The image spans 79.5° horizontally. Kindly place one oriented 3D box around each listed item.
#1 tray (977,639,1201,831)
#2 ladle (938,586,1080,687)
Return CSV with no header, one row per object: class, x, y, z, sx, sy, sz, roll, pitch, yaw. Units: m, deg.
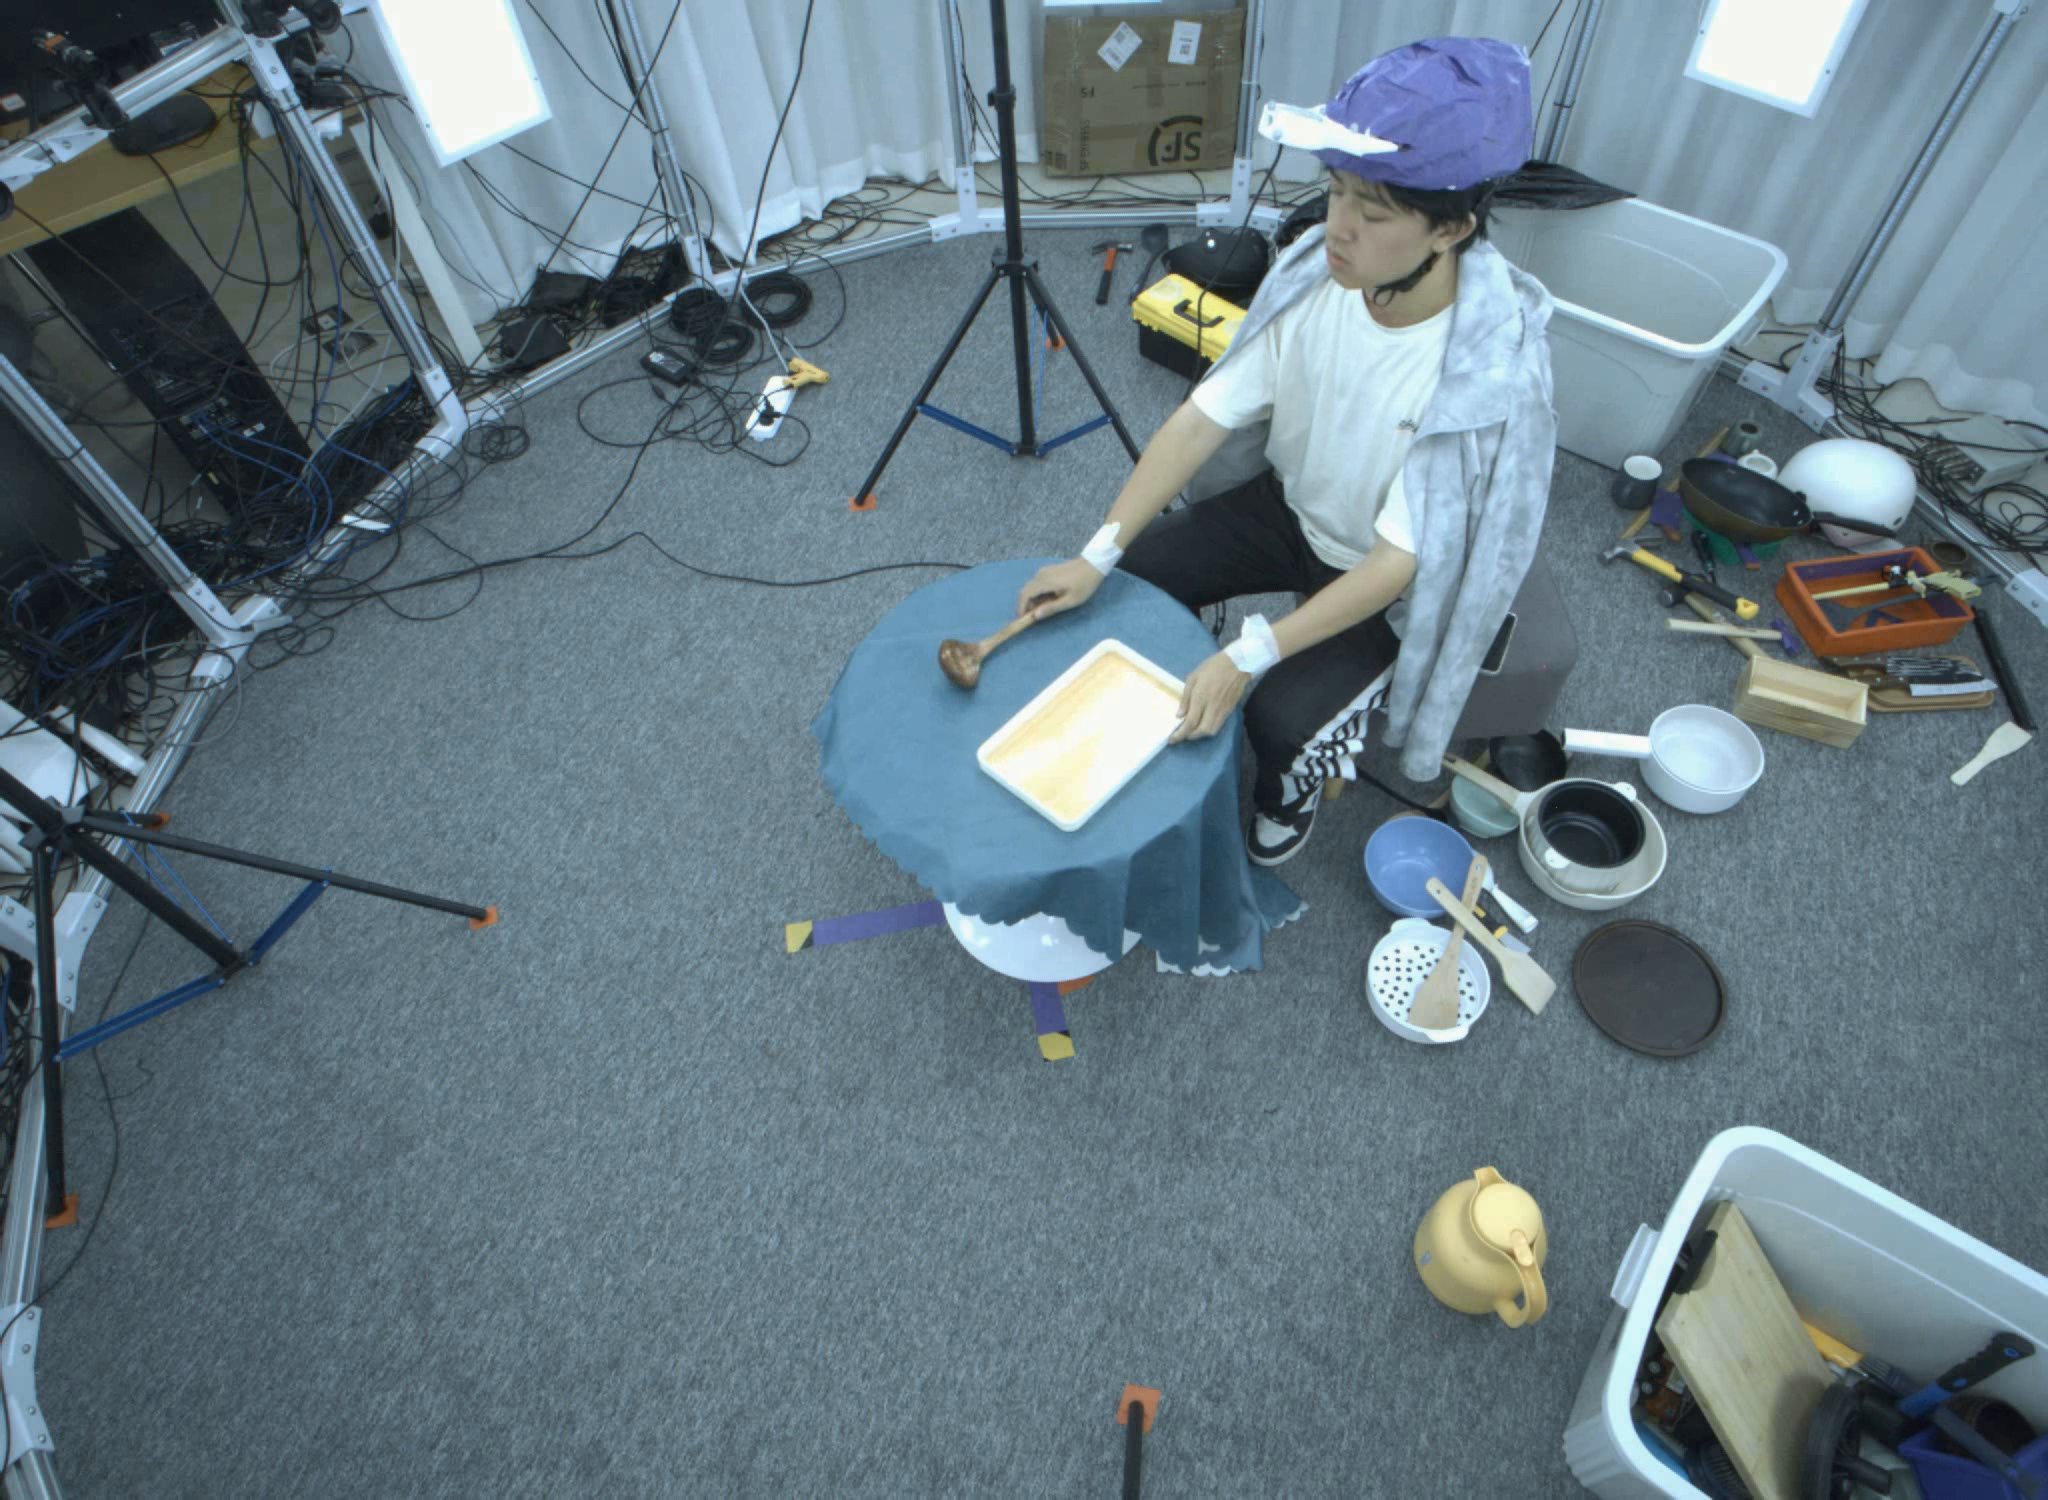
tray,0.097,-0.028,1.789,0.188,0.028,0.302,37,63,24
ladle,-0.016,-0.187,1.875,0.276,0.075,0.082,-33,102,-19
